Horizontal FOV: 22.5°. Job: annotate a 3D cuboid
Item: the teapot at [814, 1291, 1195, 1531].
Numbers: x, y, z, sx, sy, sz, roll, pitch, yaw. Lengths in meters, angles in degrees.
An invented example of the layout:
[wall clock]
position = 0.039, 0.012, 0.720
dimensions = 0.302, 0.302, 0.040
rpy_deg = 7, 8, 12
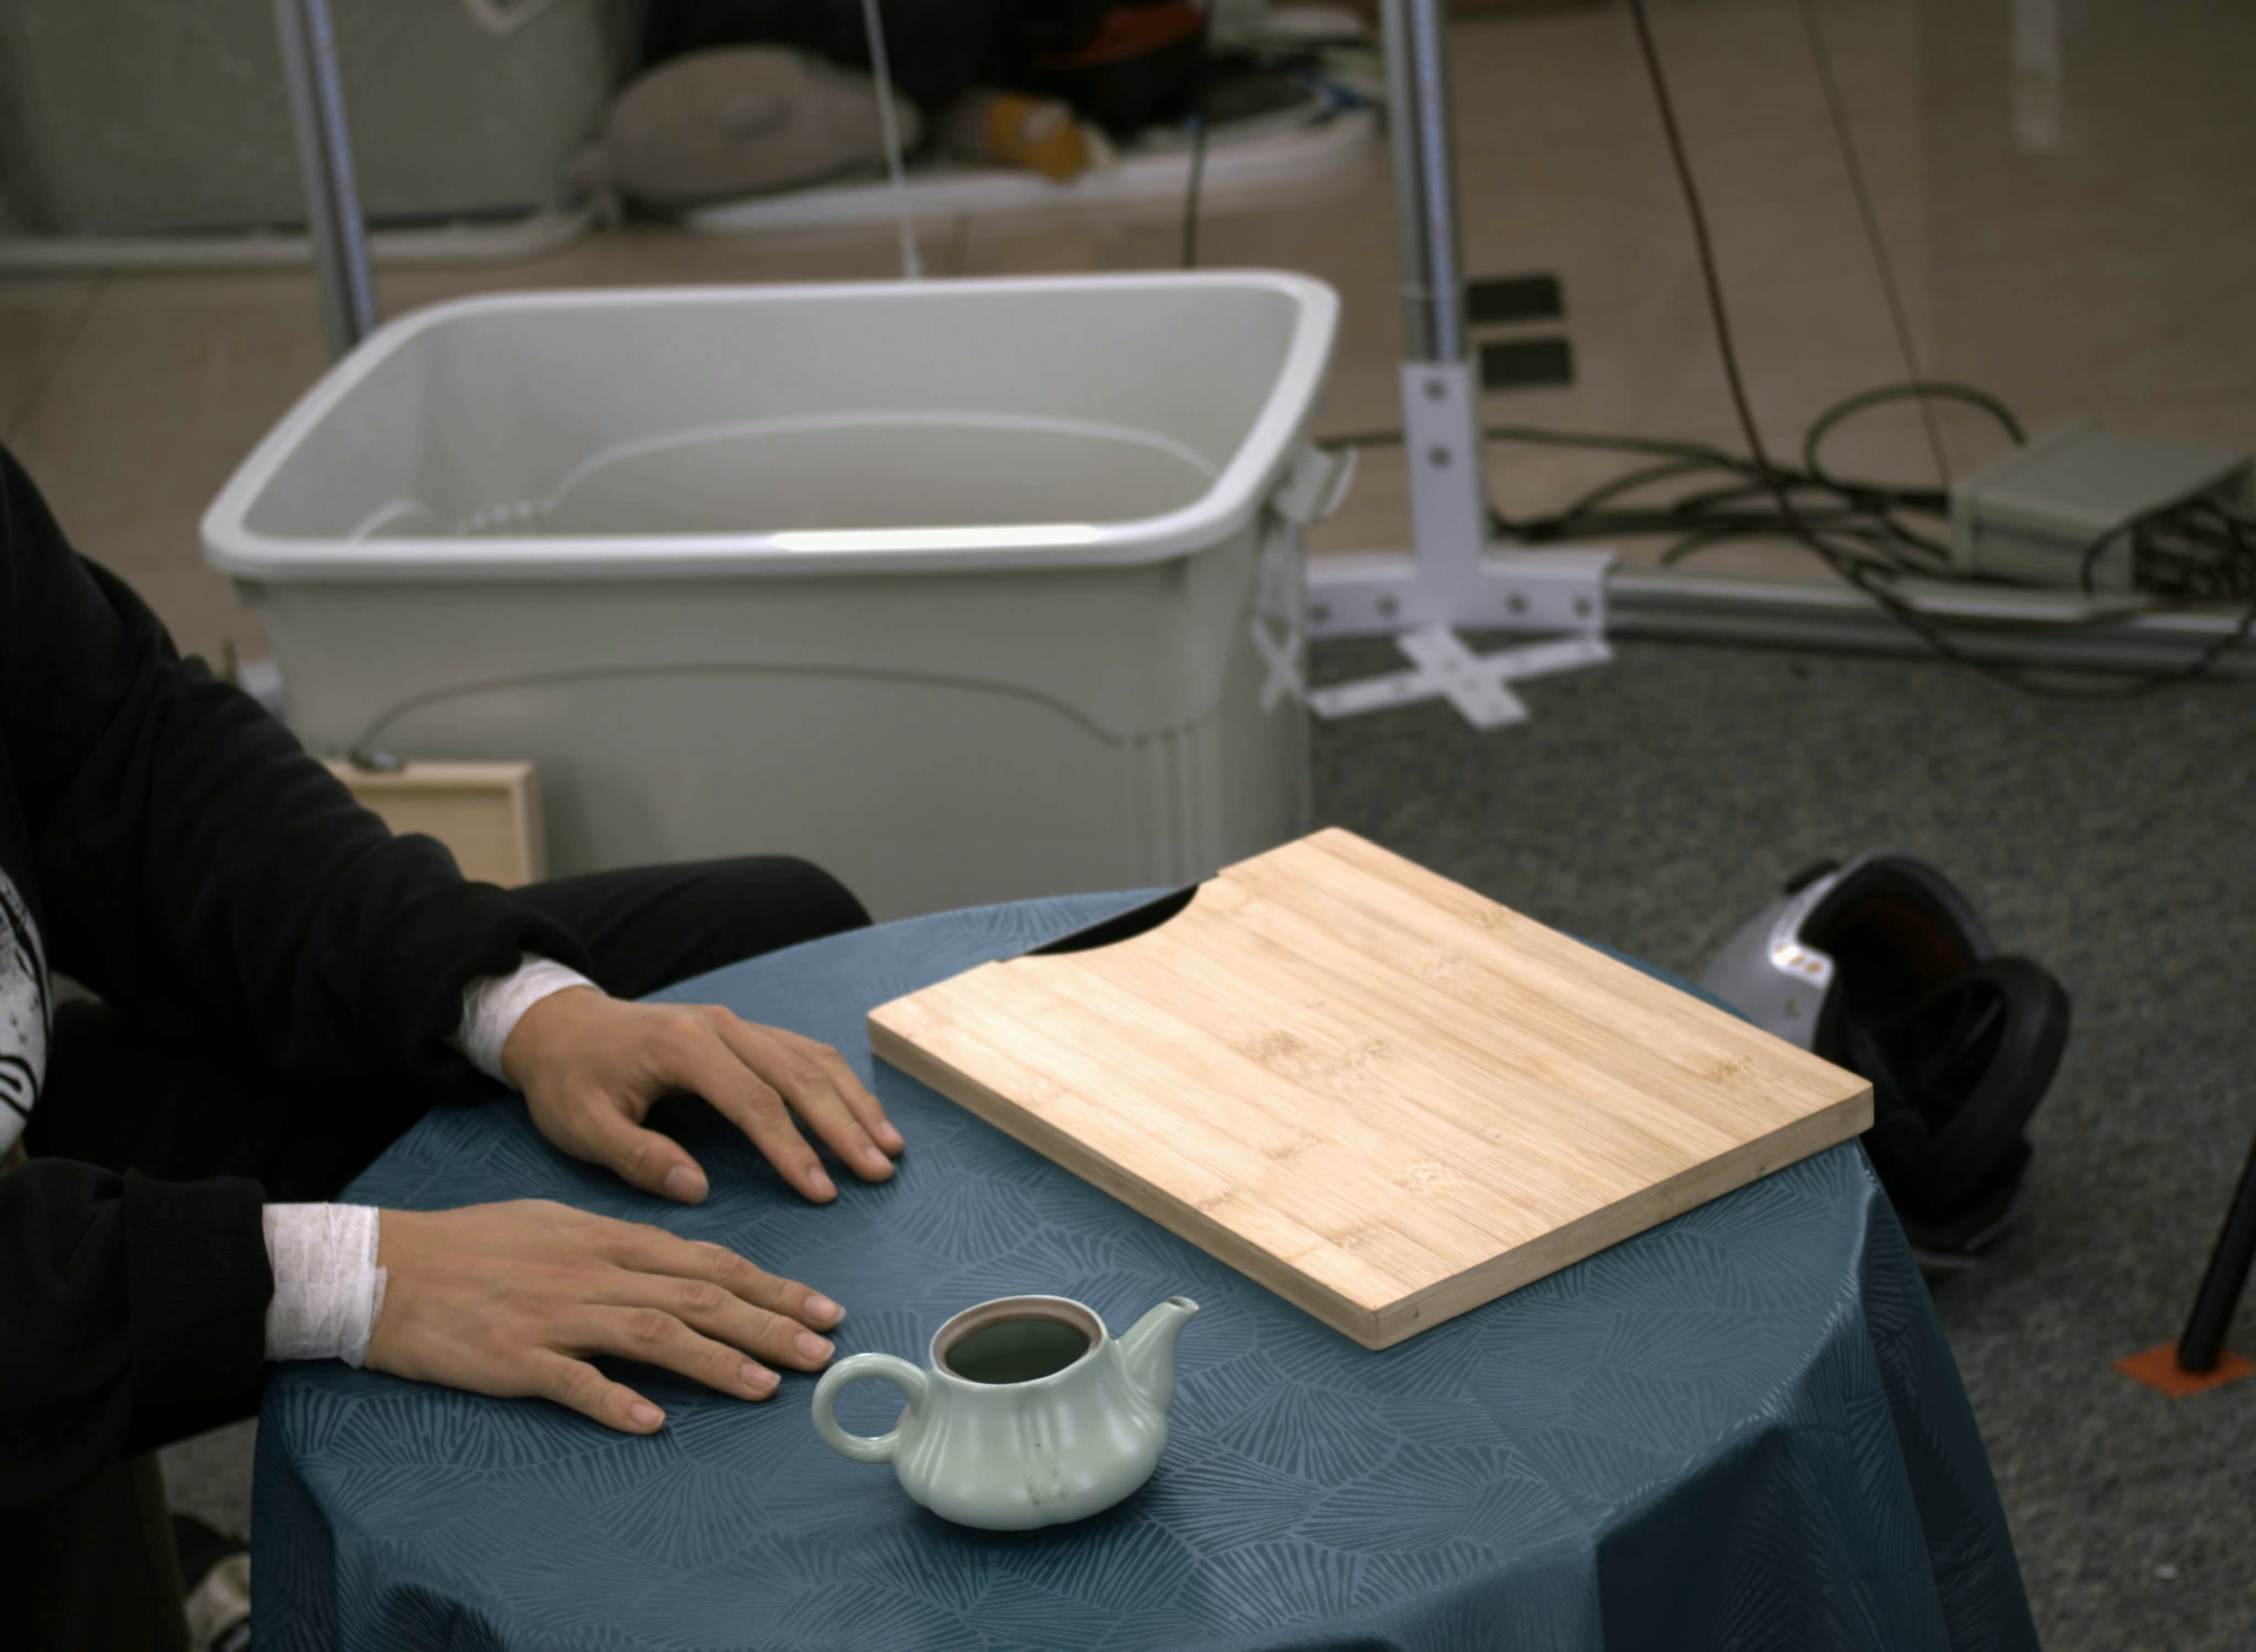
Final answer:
[teapot]
position = -0.040, 0.201, 1.955
dimensions = 0.136, 0.062, 0.095
rpy_deg = -11, 27, -10

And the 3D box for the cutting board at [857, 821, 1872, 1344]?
[cutting board]
position = 0.085, 0.093, 2.209
dimensions = 0.249, 0.024, 0.345
rpy_deg = -22, 29, -30
